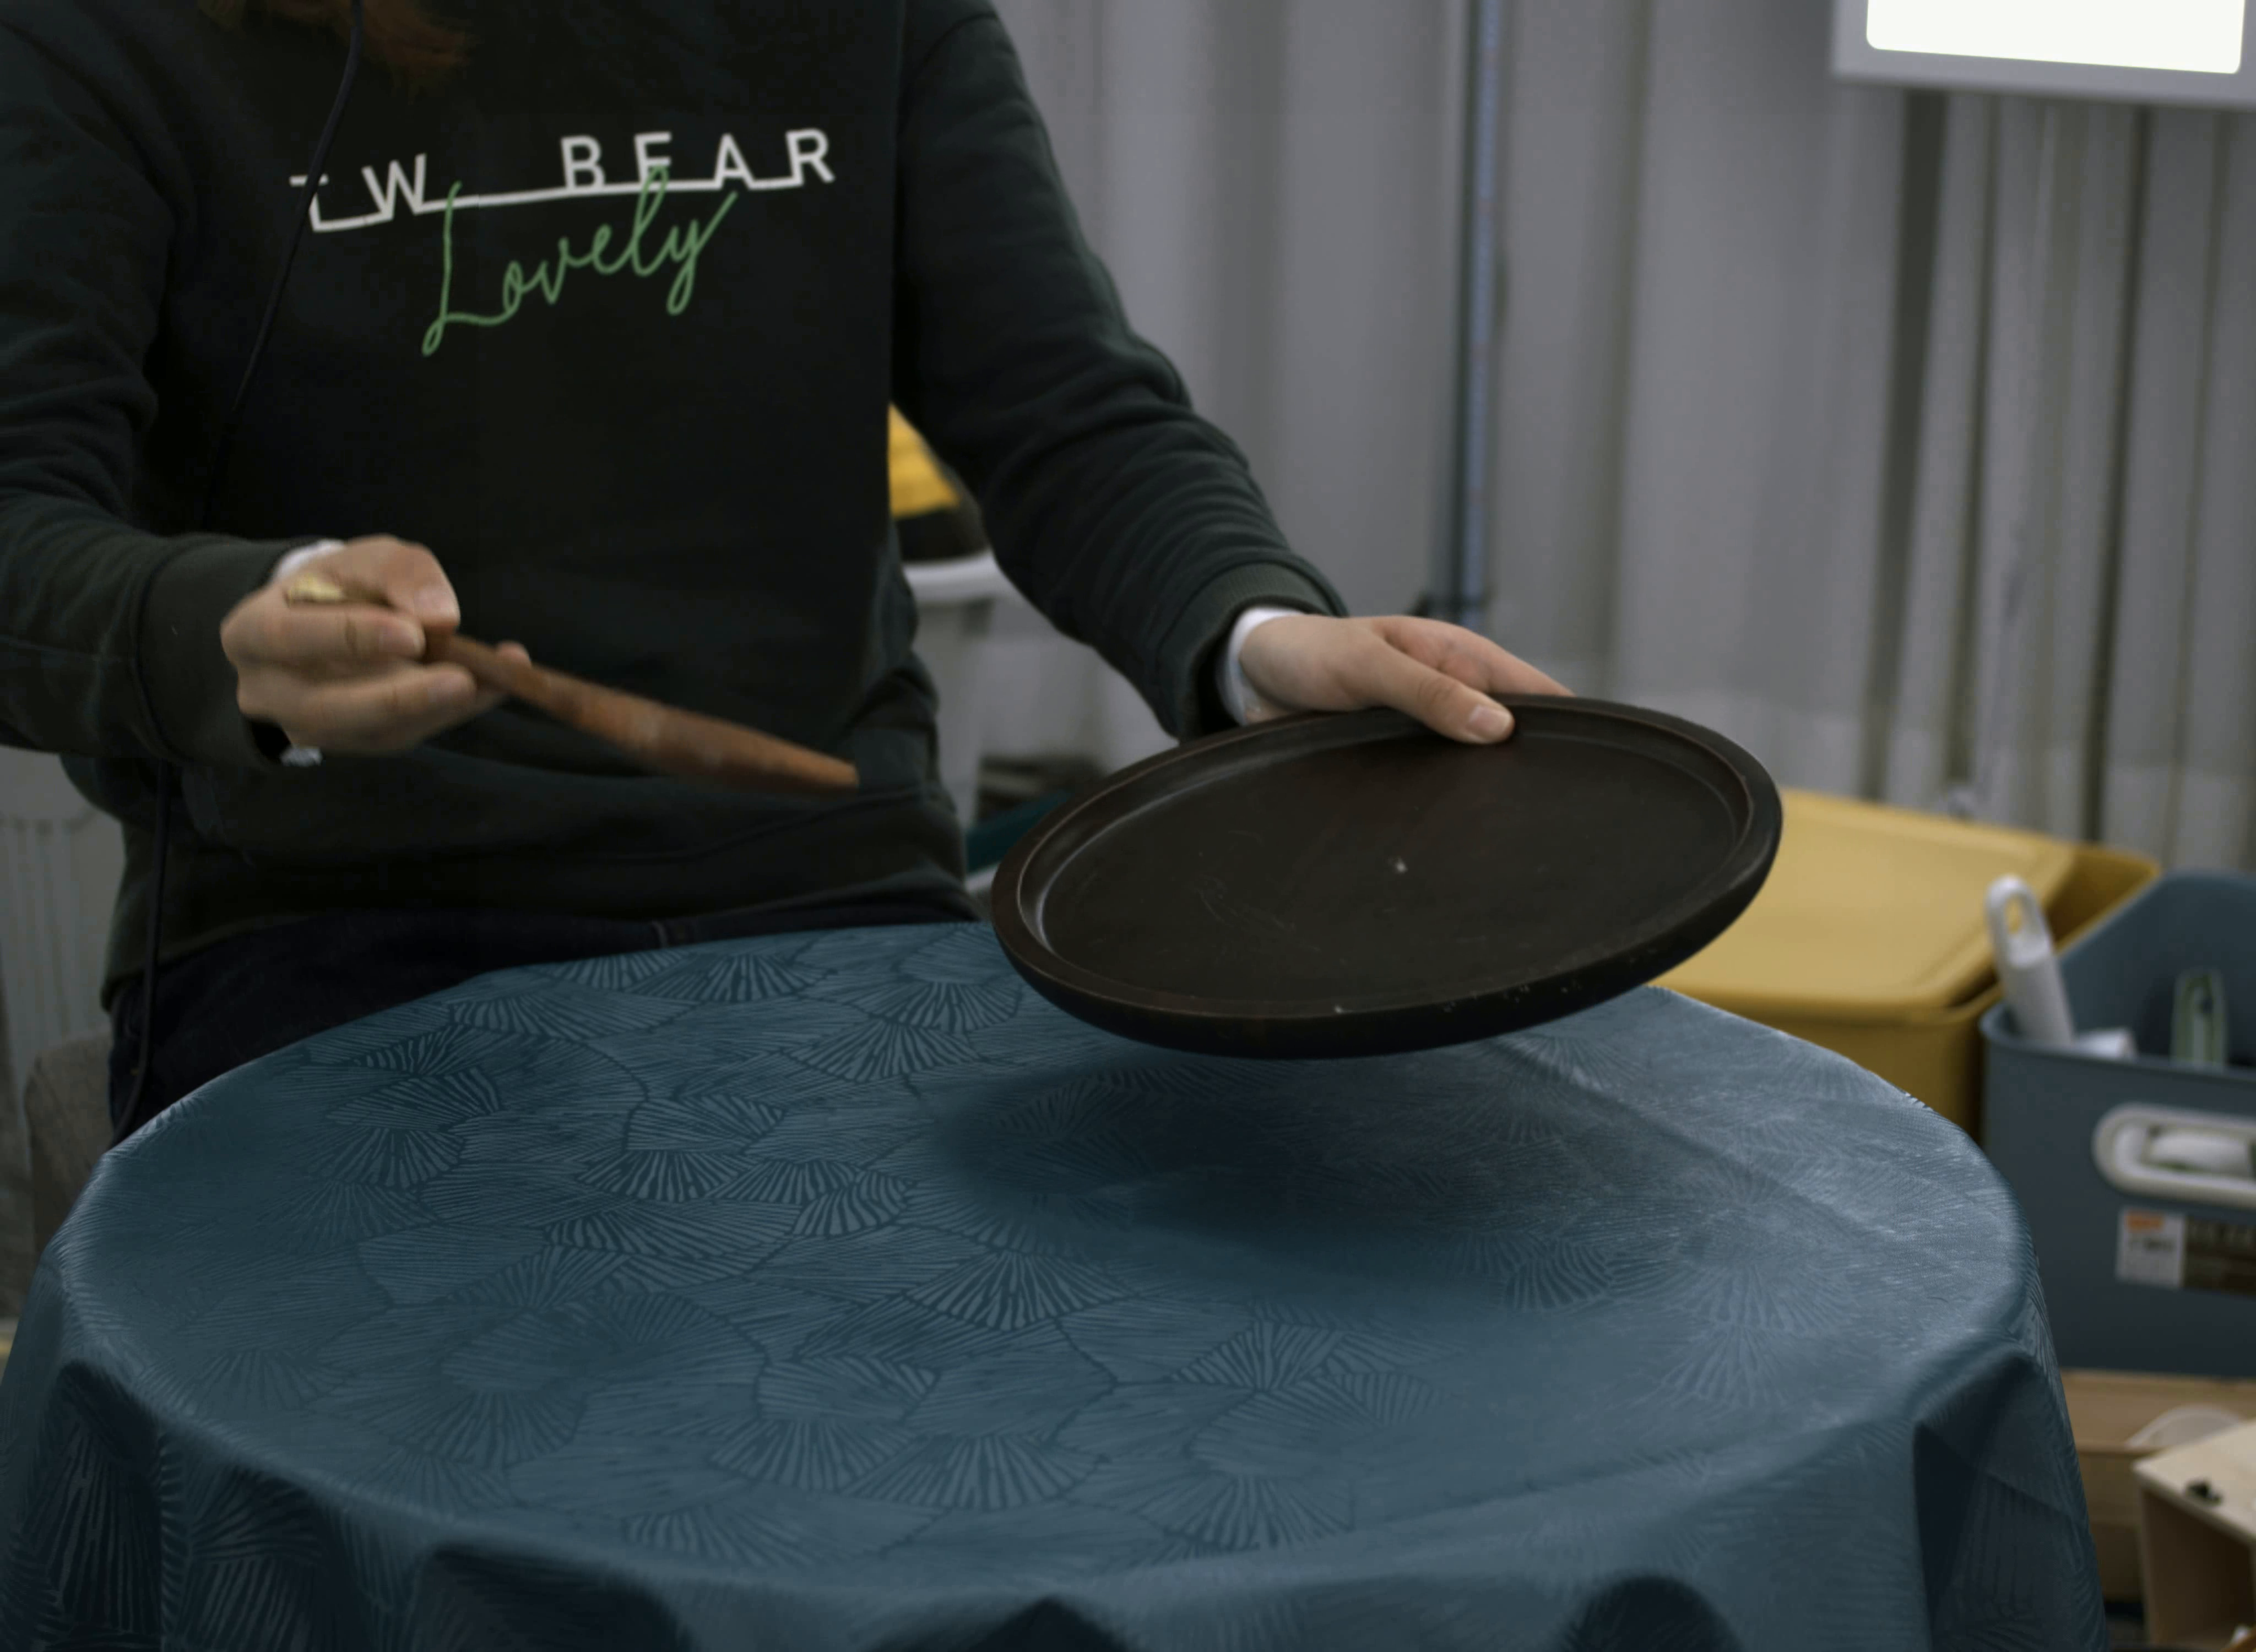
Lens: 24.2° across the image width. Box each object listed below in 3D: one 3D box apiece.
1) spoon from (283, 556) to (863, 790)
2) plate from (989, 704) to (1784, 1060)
[{"bbox_3d":[-0.171,-0.044,1.572,0.213,0.017,0.076,21,7,30],"label":"spoon"},{"bbox_3d":[0.082,0.015,1.672,0.254,0.029,0.253,-6,23,3],"label":"plate"}]
